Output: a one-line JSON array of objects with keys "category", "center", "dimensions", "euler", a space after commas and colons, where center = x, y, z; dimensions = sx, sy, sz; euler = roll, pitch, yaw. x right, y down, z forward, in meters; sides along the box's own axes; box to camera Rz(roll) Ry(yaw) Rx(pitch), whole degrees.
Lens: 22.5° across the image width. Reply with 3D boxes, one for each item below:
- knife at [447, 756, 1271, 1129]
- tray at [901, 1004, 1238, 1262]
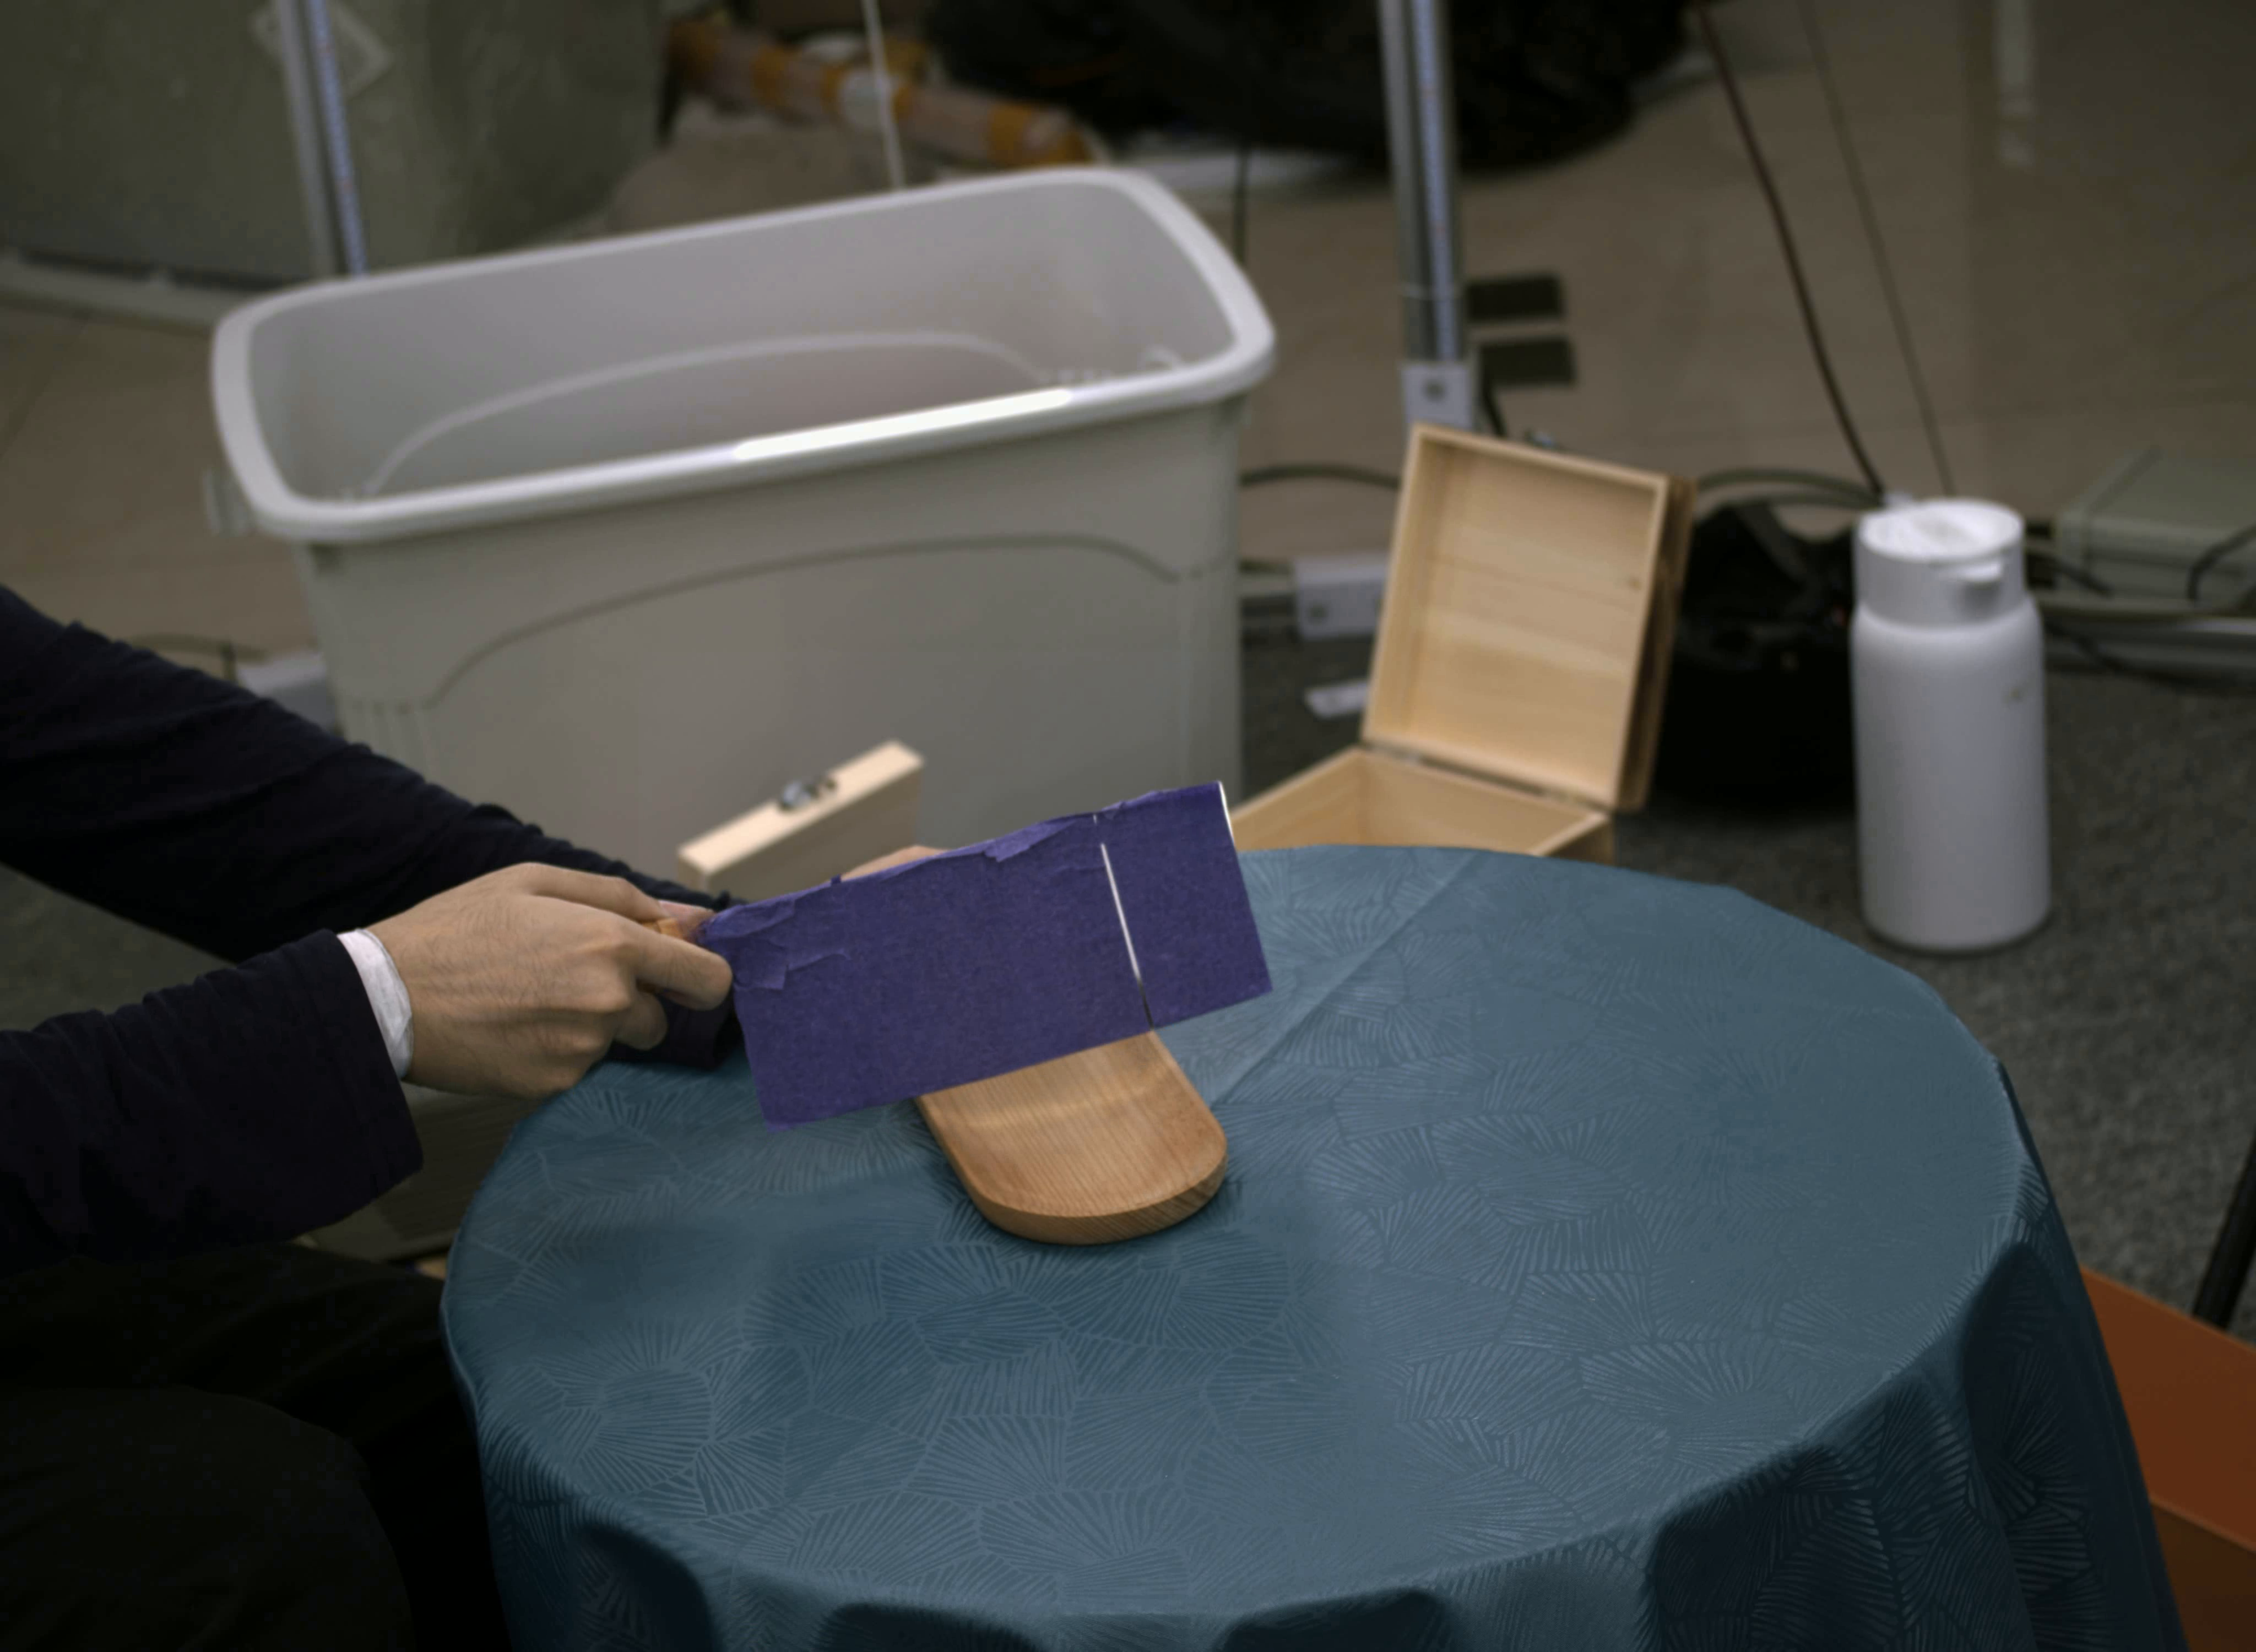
[{"category": "knife", "center": [-0.099, 0.062, 2.172], "dimensions": [0.314, 0.105, 0.032], "euler": [-15, 12, -9]}, {"category": "tray", "center": [-0.028, 0.108, 2.209], "dimensions": [0.101, 0.020, 0.228], "euler": [-15, 30, -12]}]
